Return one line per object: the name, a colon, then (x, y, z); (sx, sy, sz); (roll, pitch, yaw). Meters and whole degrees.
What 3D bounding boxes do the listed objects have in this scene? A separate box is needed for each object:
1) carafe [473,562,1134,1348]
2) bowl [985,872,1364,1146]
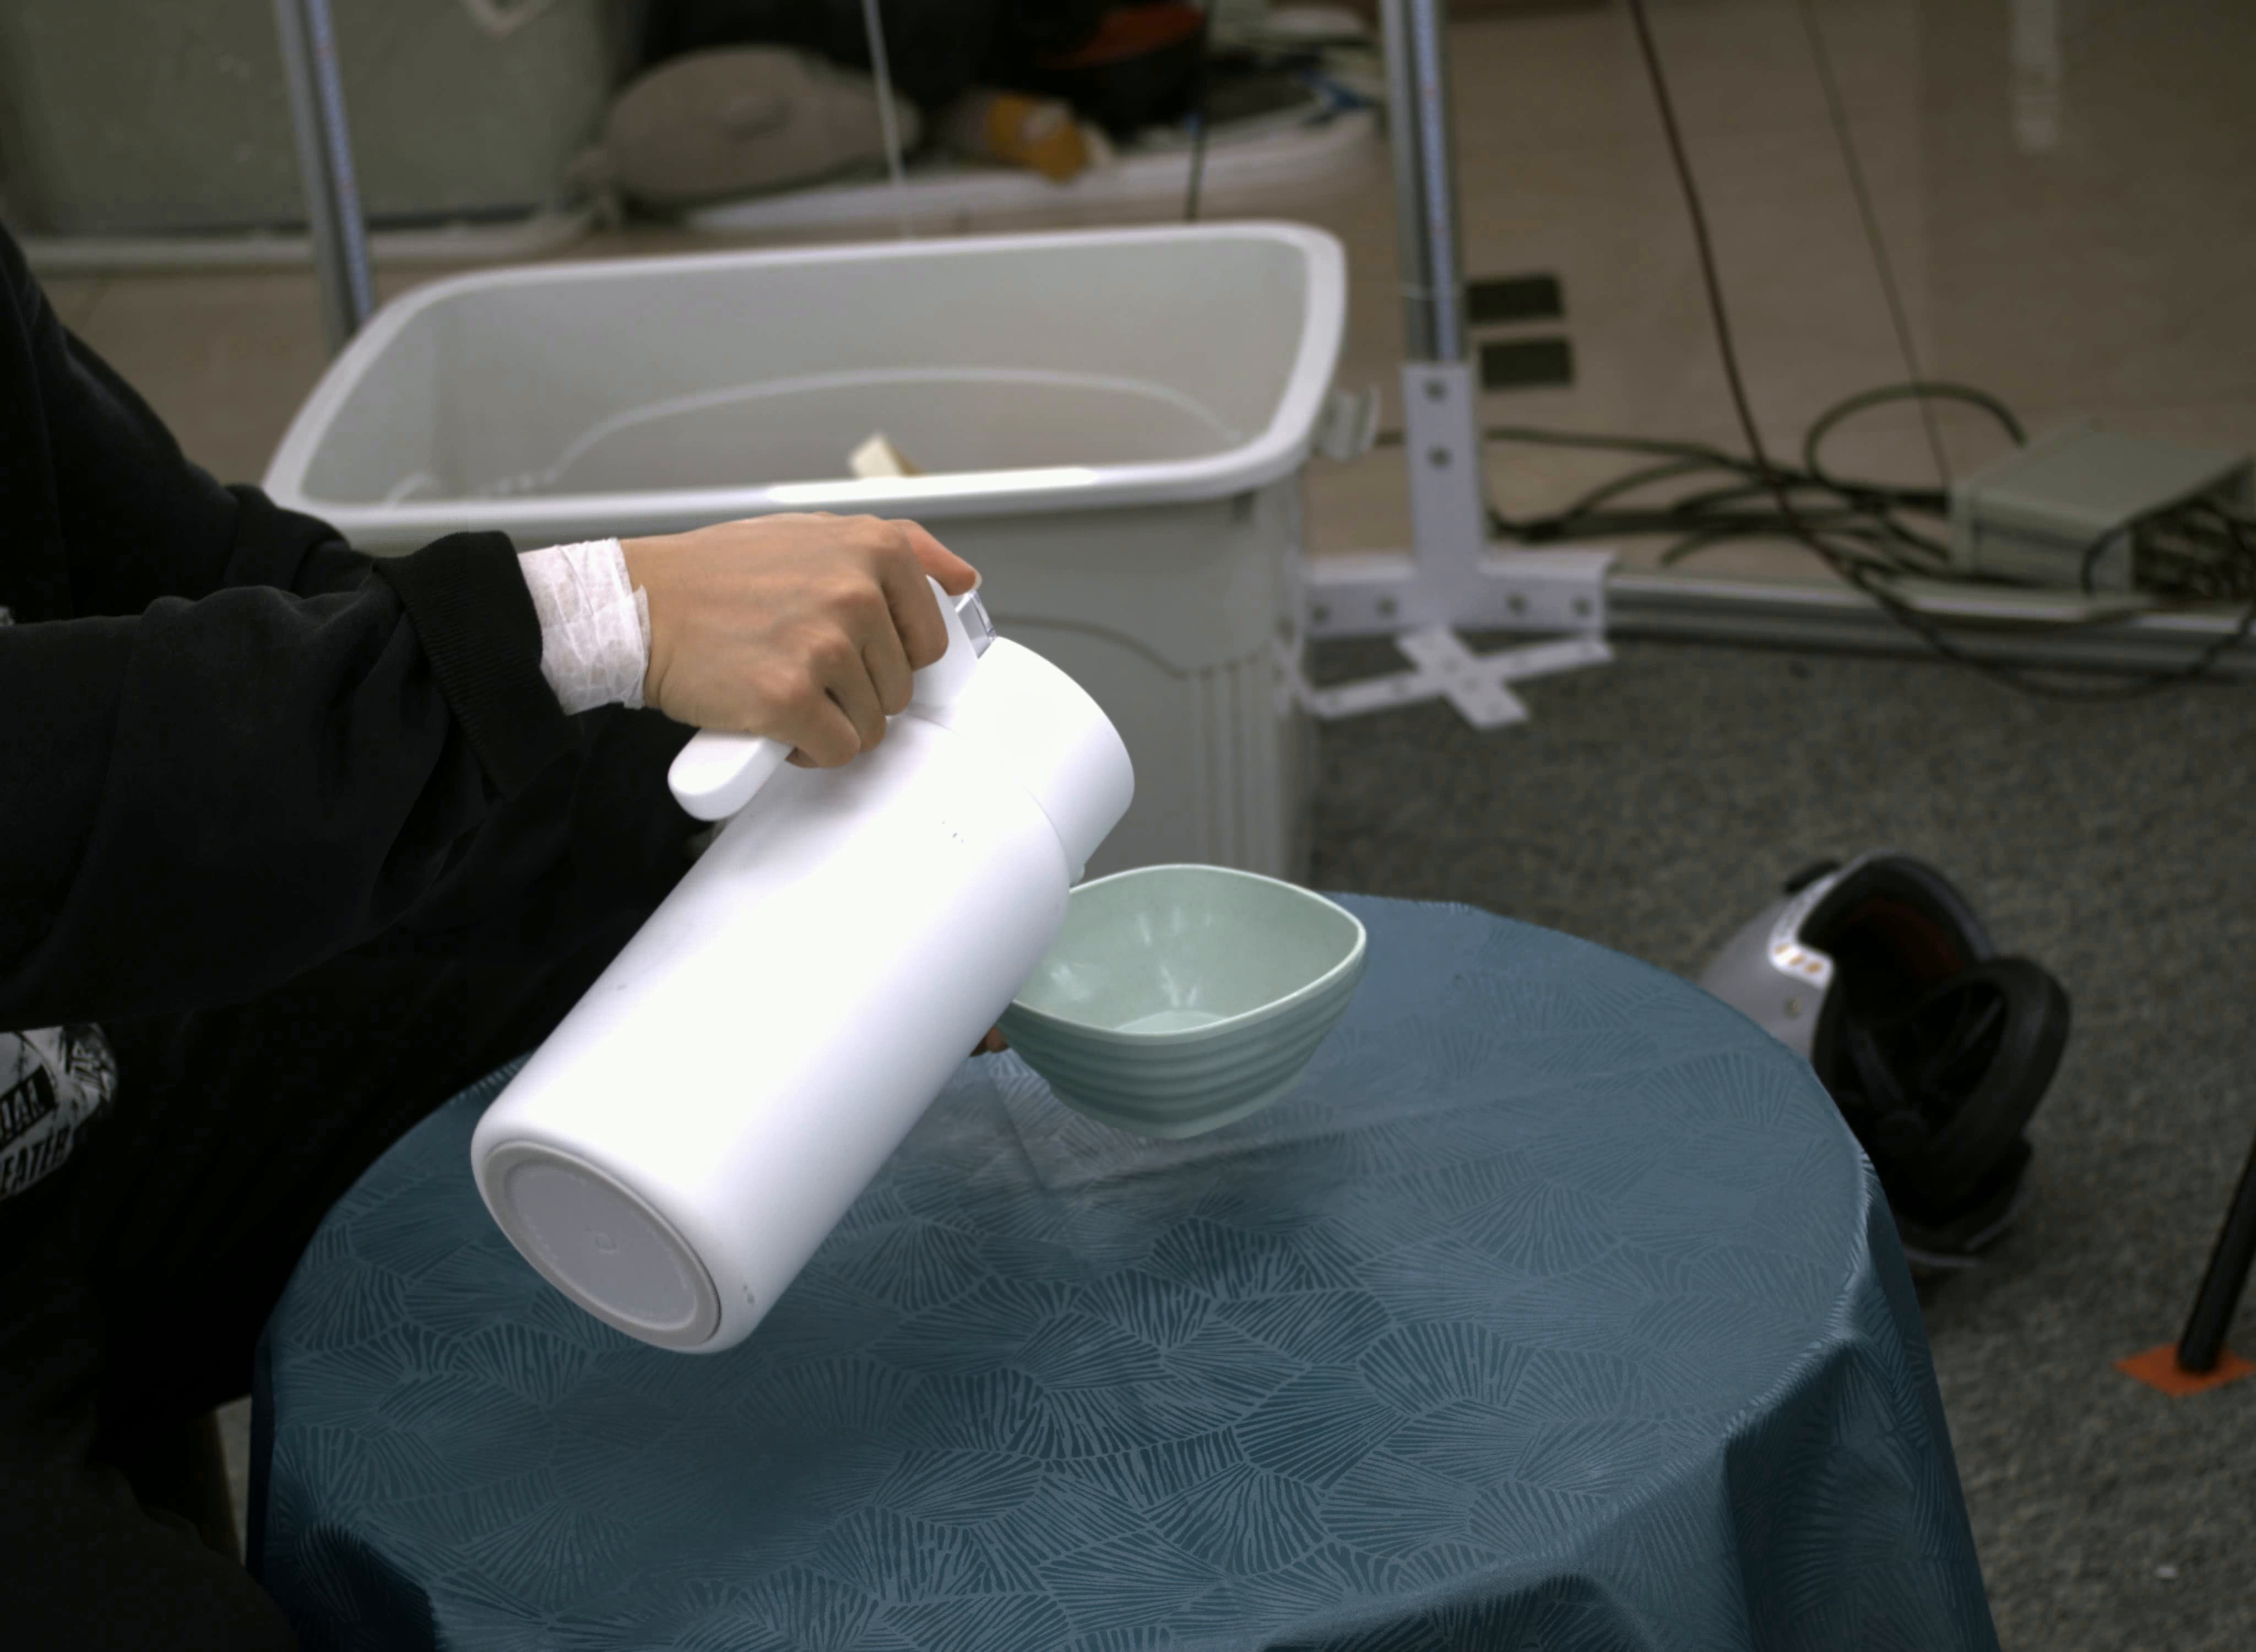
carafe: (-0.112, 0.039, 1.968); (0.123, 0.176, 0.265); (15, 52, 37)
bowl: (0.015, 0.074, 2.140); (0.151, 0.059, 0.149); (-4, 24, 2)
